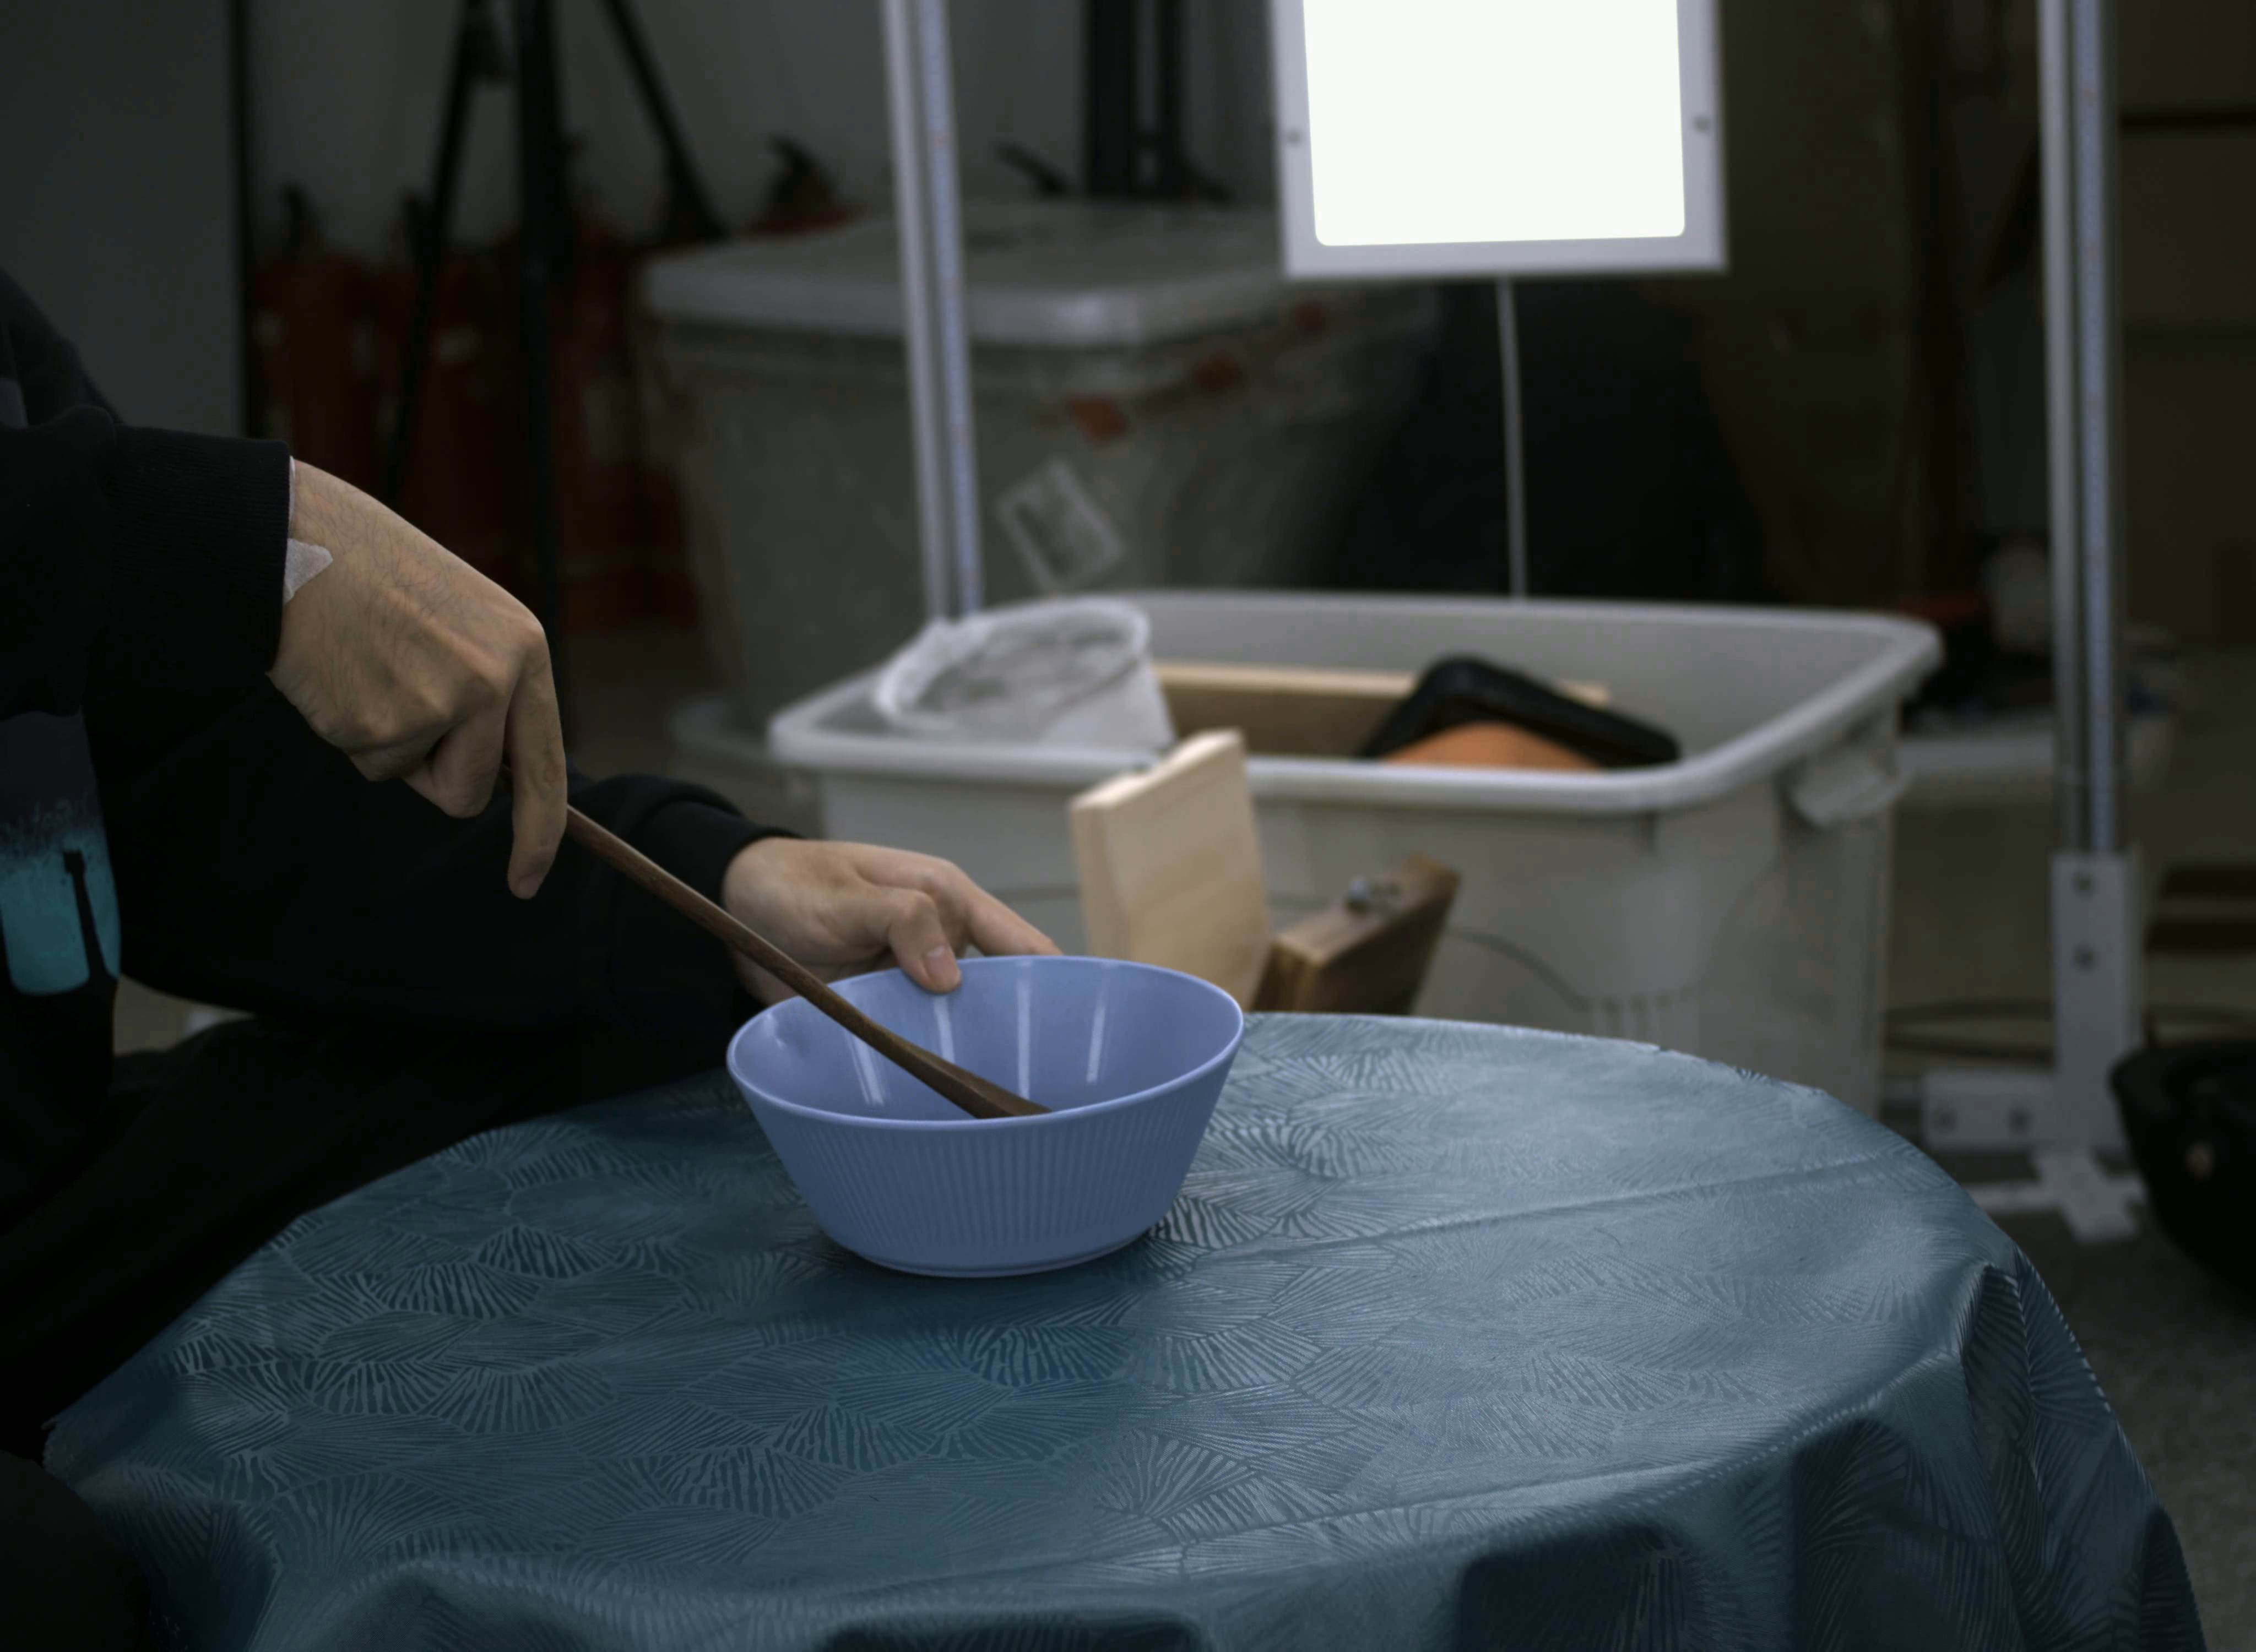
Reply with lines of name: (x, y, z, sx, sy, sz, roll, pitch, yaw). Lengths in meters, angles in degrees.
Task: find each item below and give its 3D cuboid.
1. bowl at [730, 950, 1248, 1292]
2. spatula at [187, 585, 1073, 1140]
bowl: (-0.044, 0.104, 1.861, 0.175, 0.070, 0.176, -5, 20, 0)
spatula: (-0.146, 0.023, 1.817, 0.381, 0.016, 0.097, 34, -1, -18)
